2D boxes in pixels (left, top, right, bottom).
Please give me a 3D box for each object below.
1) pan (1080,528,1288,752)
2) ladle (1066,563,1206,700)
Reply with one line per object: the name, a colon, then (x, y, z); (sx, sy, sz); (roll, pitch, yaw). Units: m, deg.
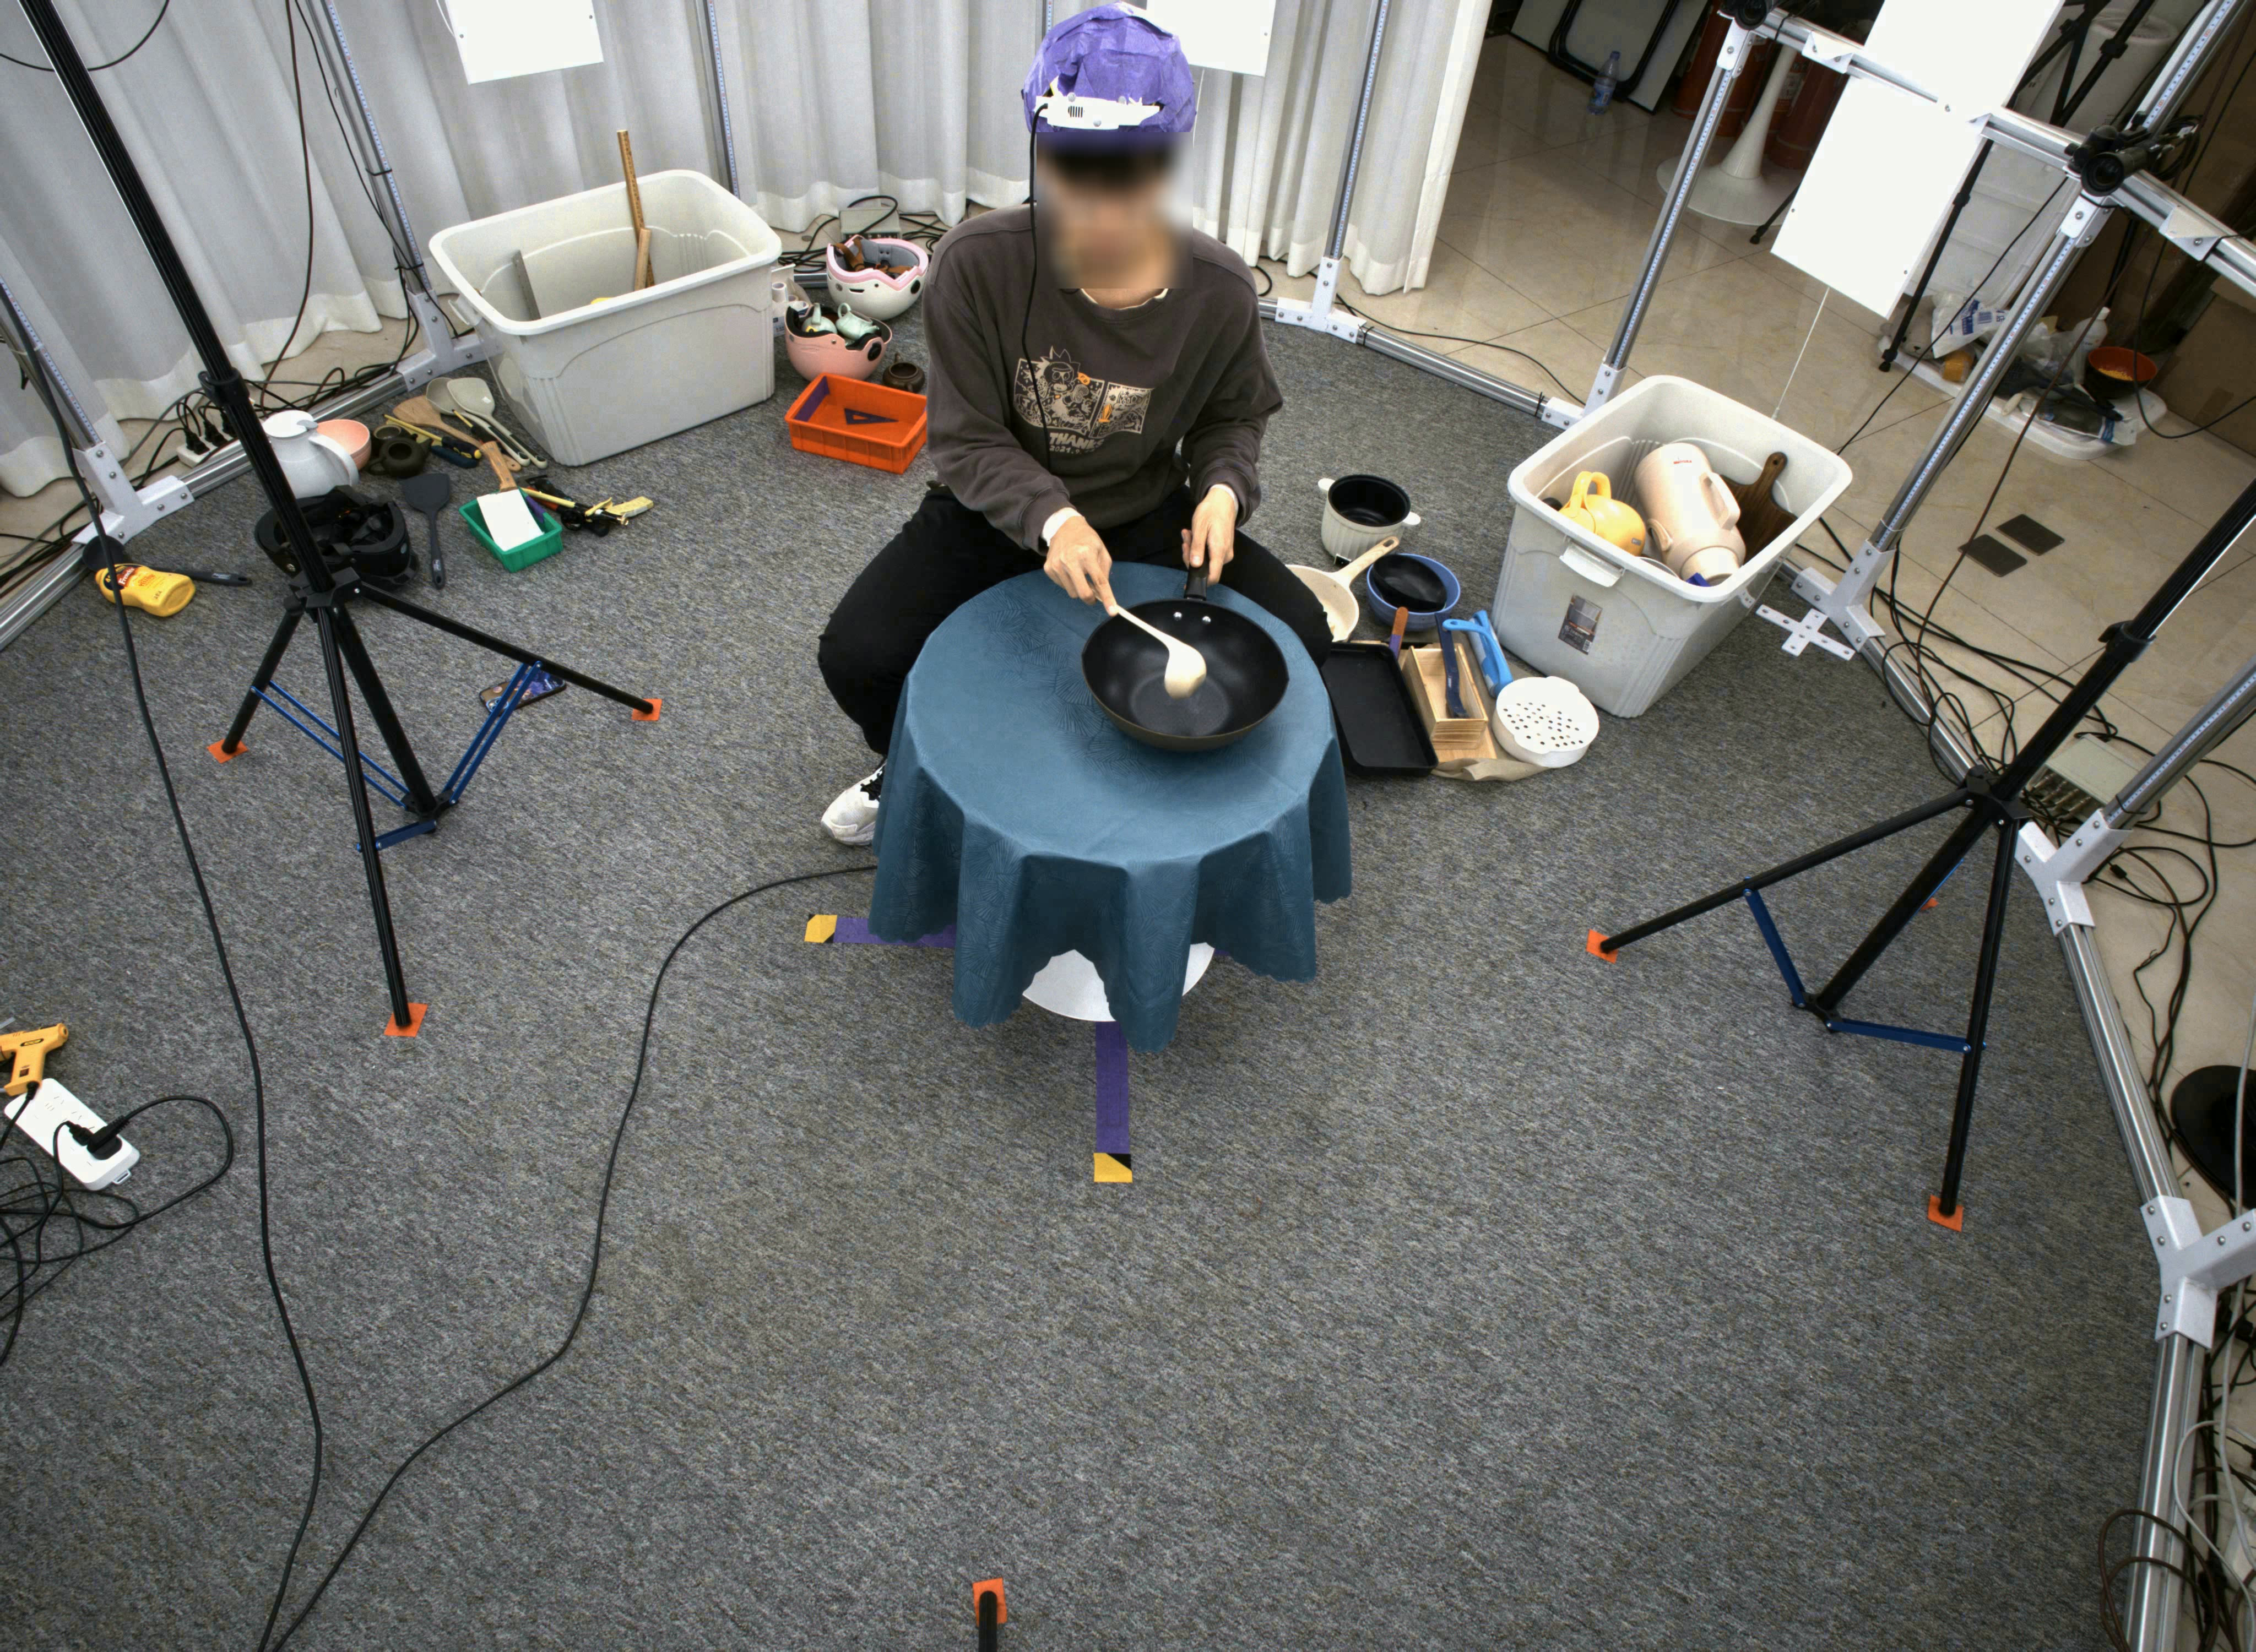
pan: (0.086, -0.264, 1.848); (0.288, 0.085, 0.474); (7, 48, 3)
ladle: (0.000, -0.268, 1.778); (0.258, 0.071, 0.073); (39, 49, 21)
